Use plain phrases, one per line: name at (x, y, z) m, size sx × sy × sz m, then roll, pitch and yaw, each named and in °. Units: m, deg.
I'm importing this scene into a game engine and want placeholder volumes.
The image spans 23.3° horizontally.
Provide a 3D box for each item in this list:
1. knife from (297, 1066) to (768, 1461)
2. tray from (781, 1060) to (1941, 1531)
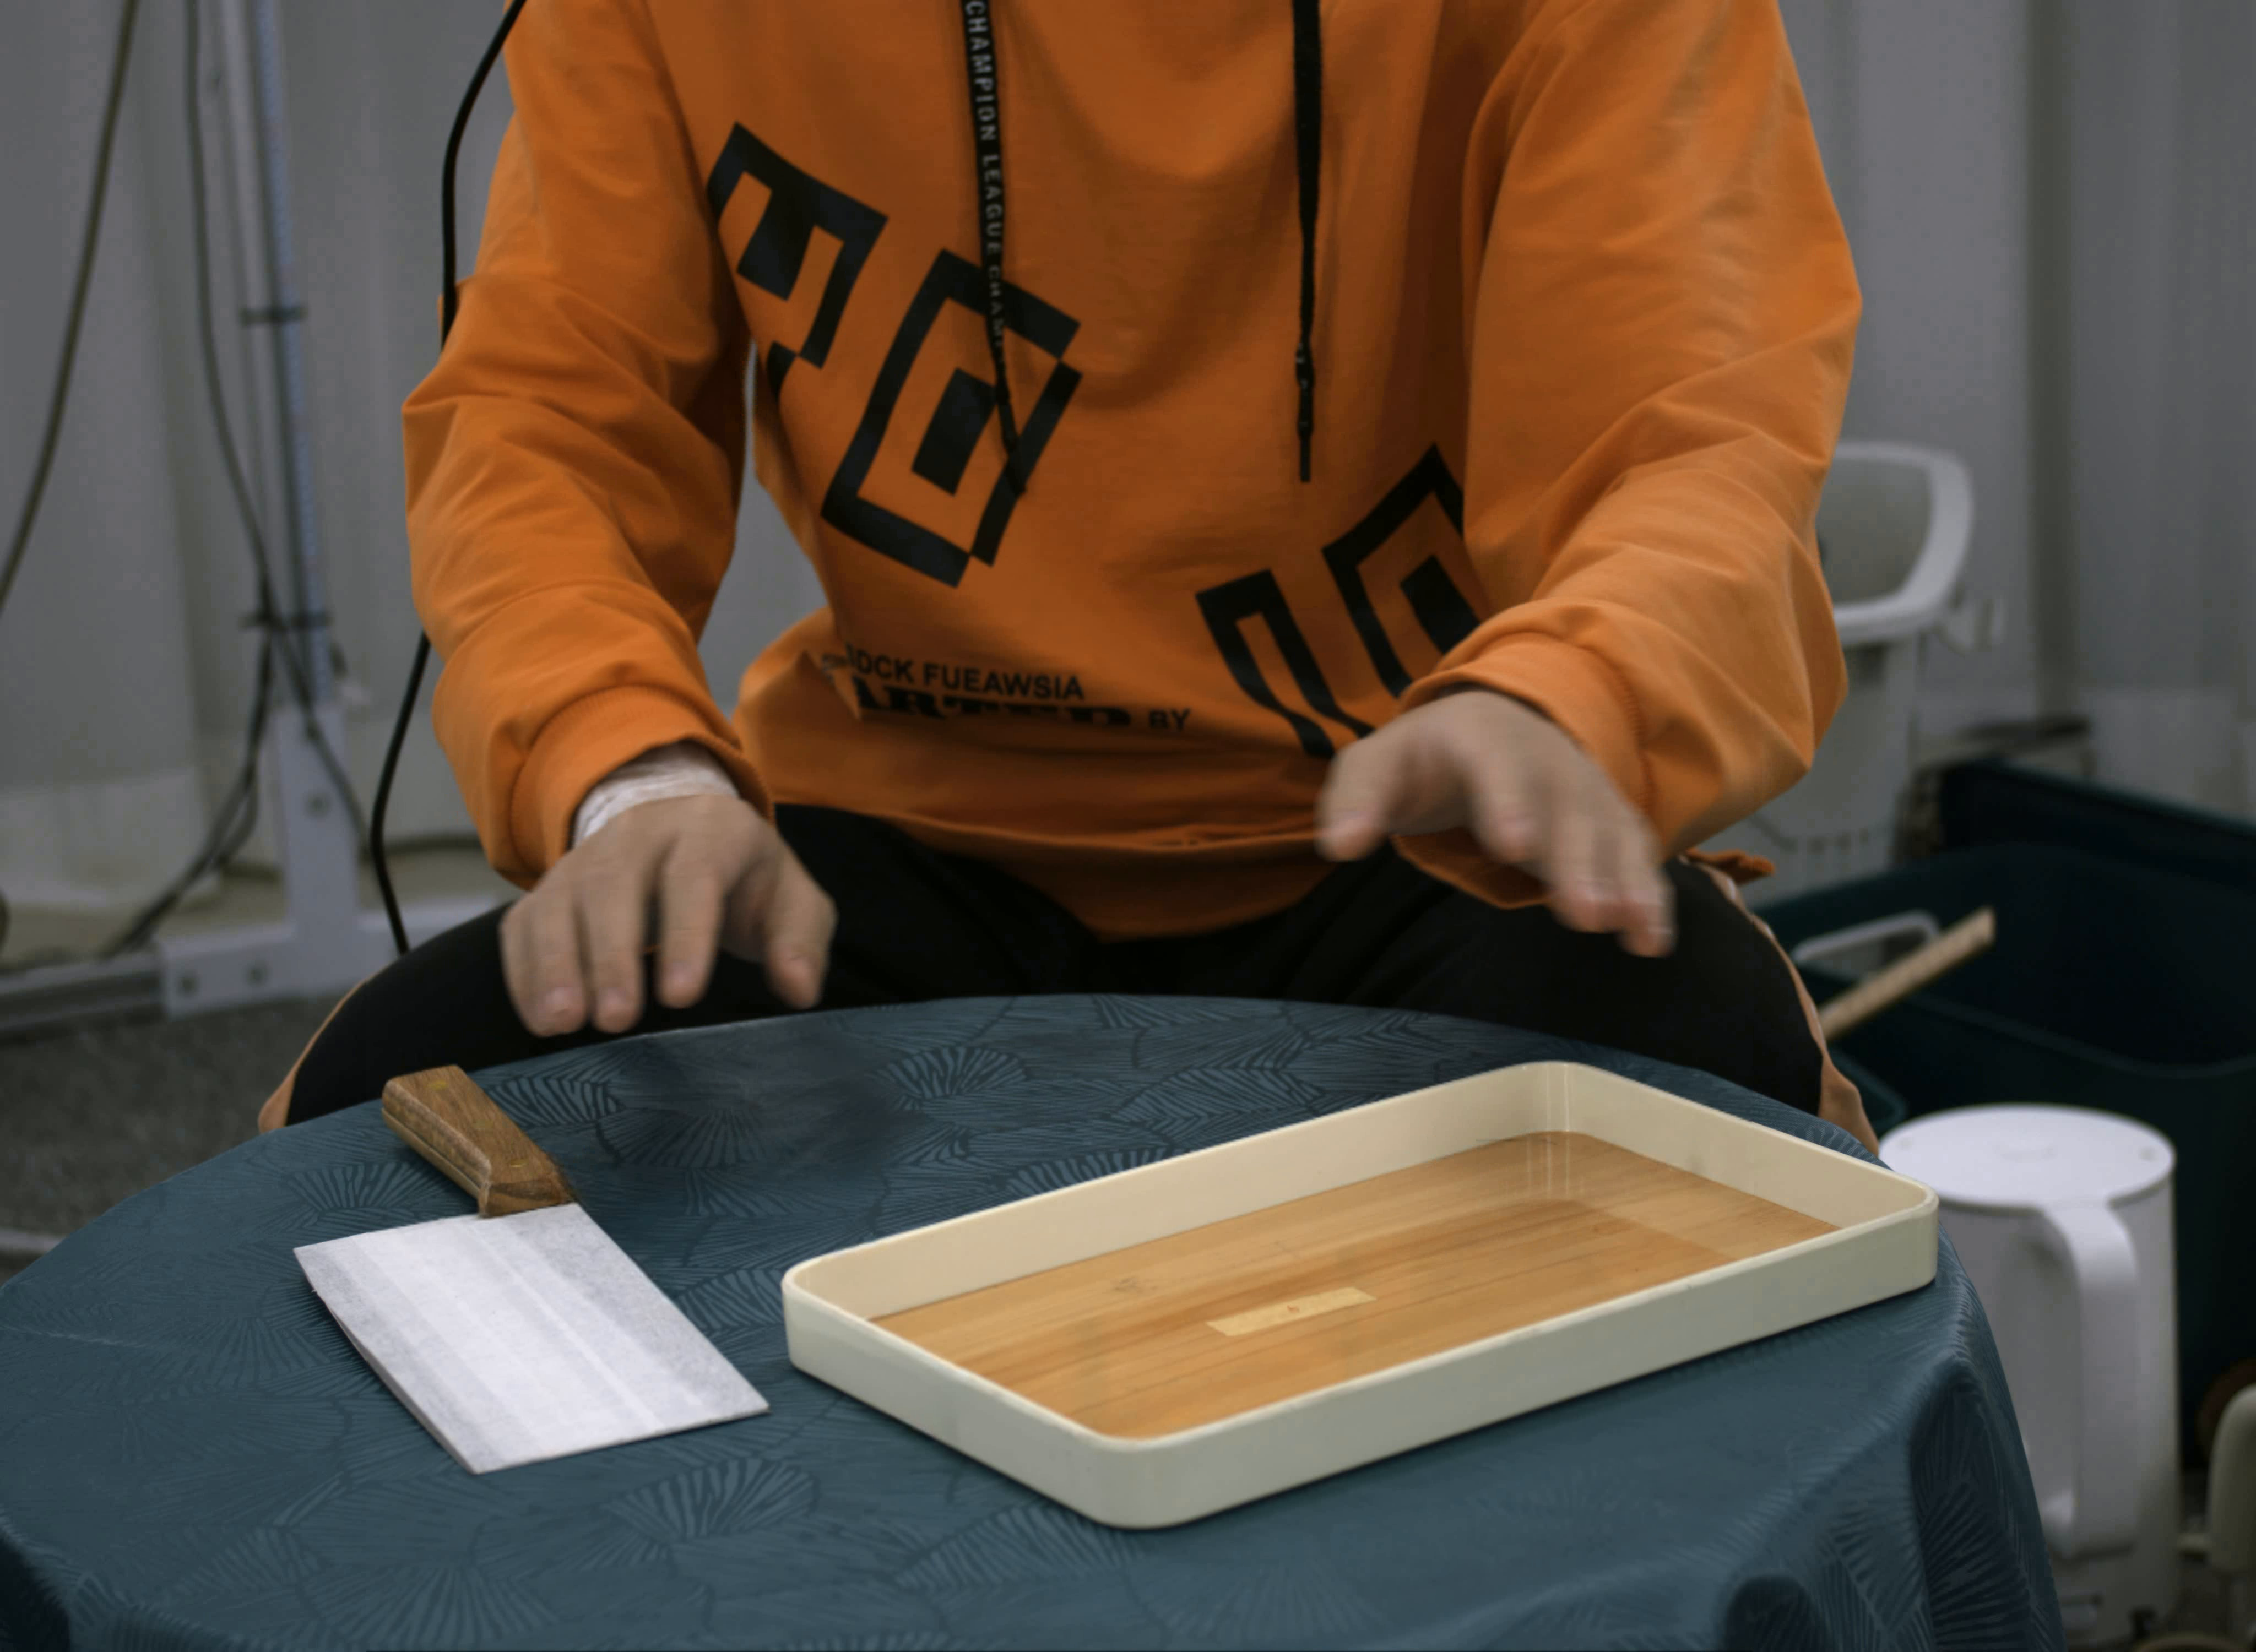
knife at (-0.199, 0.132, 1.660) m, size 0.092 × 0.021 × 0.308 m, roll -10°, pitch 19°, yaw -21°
tray at (0.069, 0.131, 1.588) m, size 0.299 × 0.027 × 0.193 m, roll -13°, pitch 18°, yaw -32°
